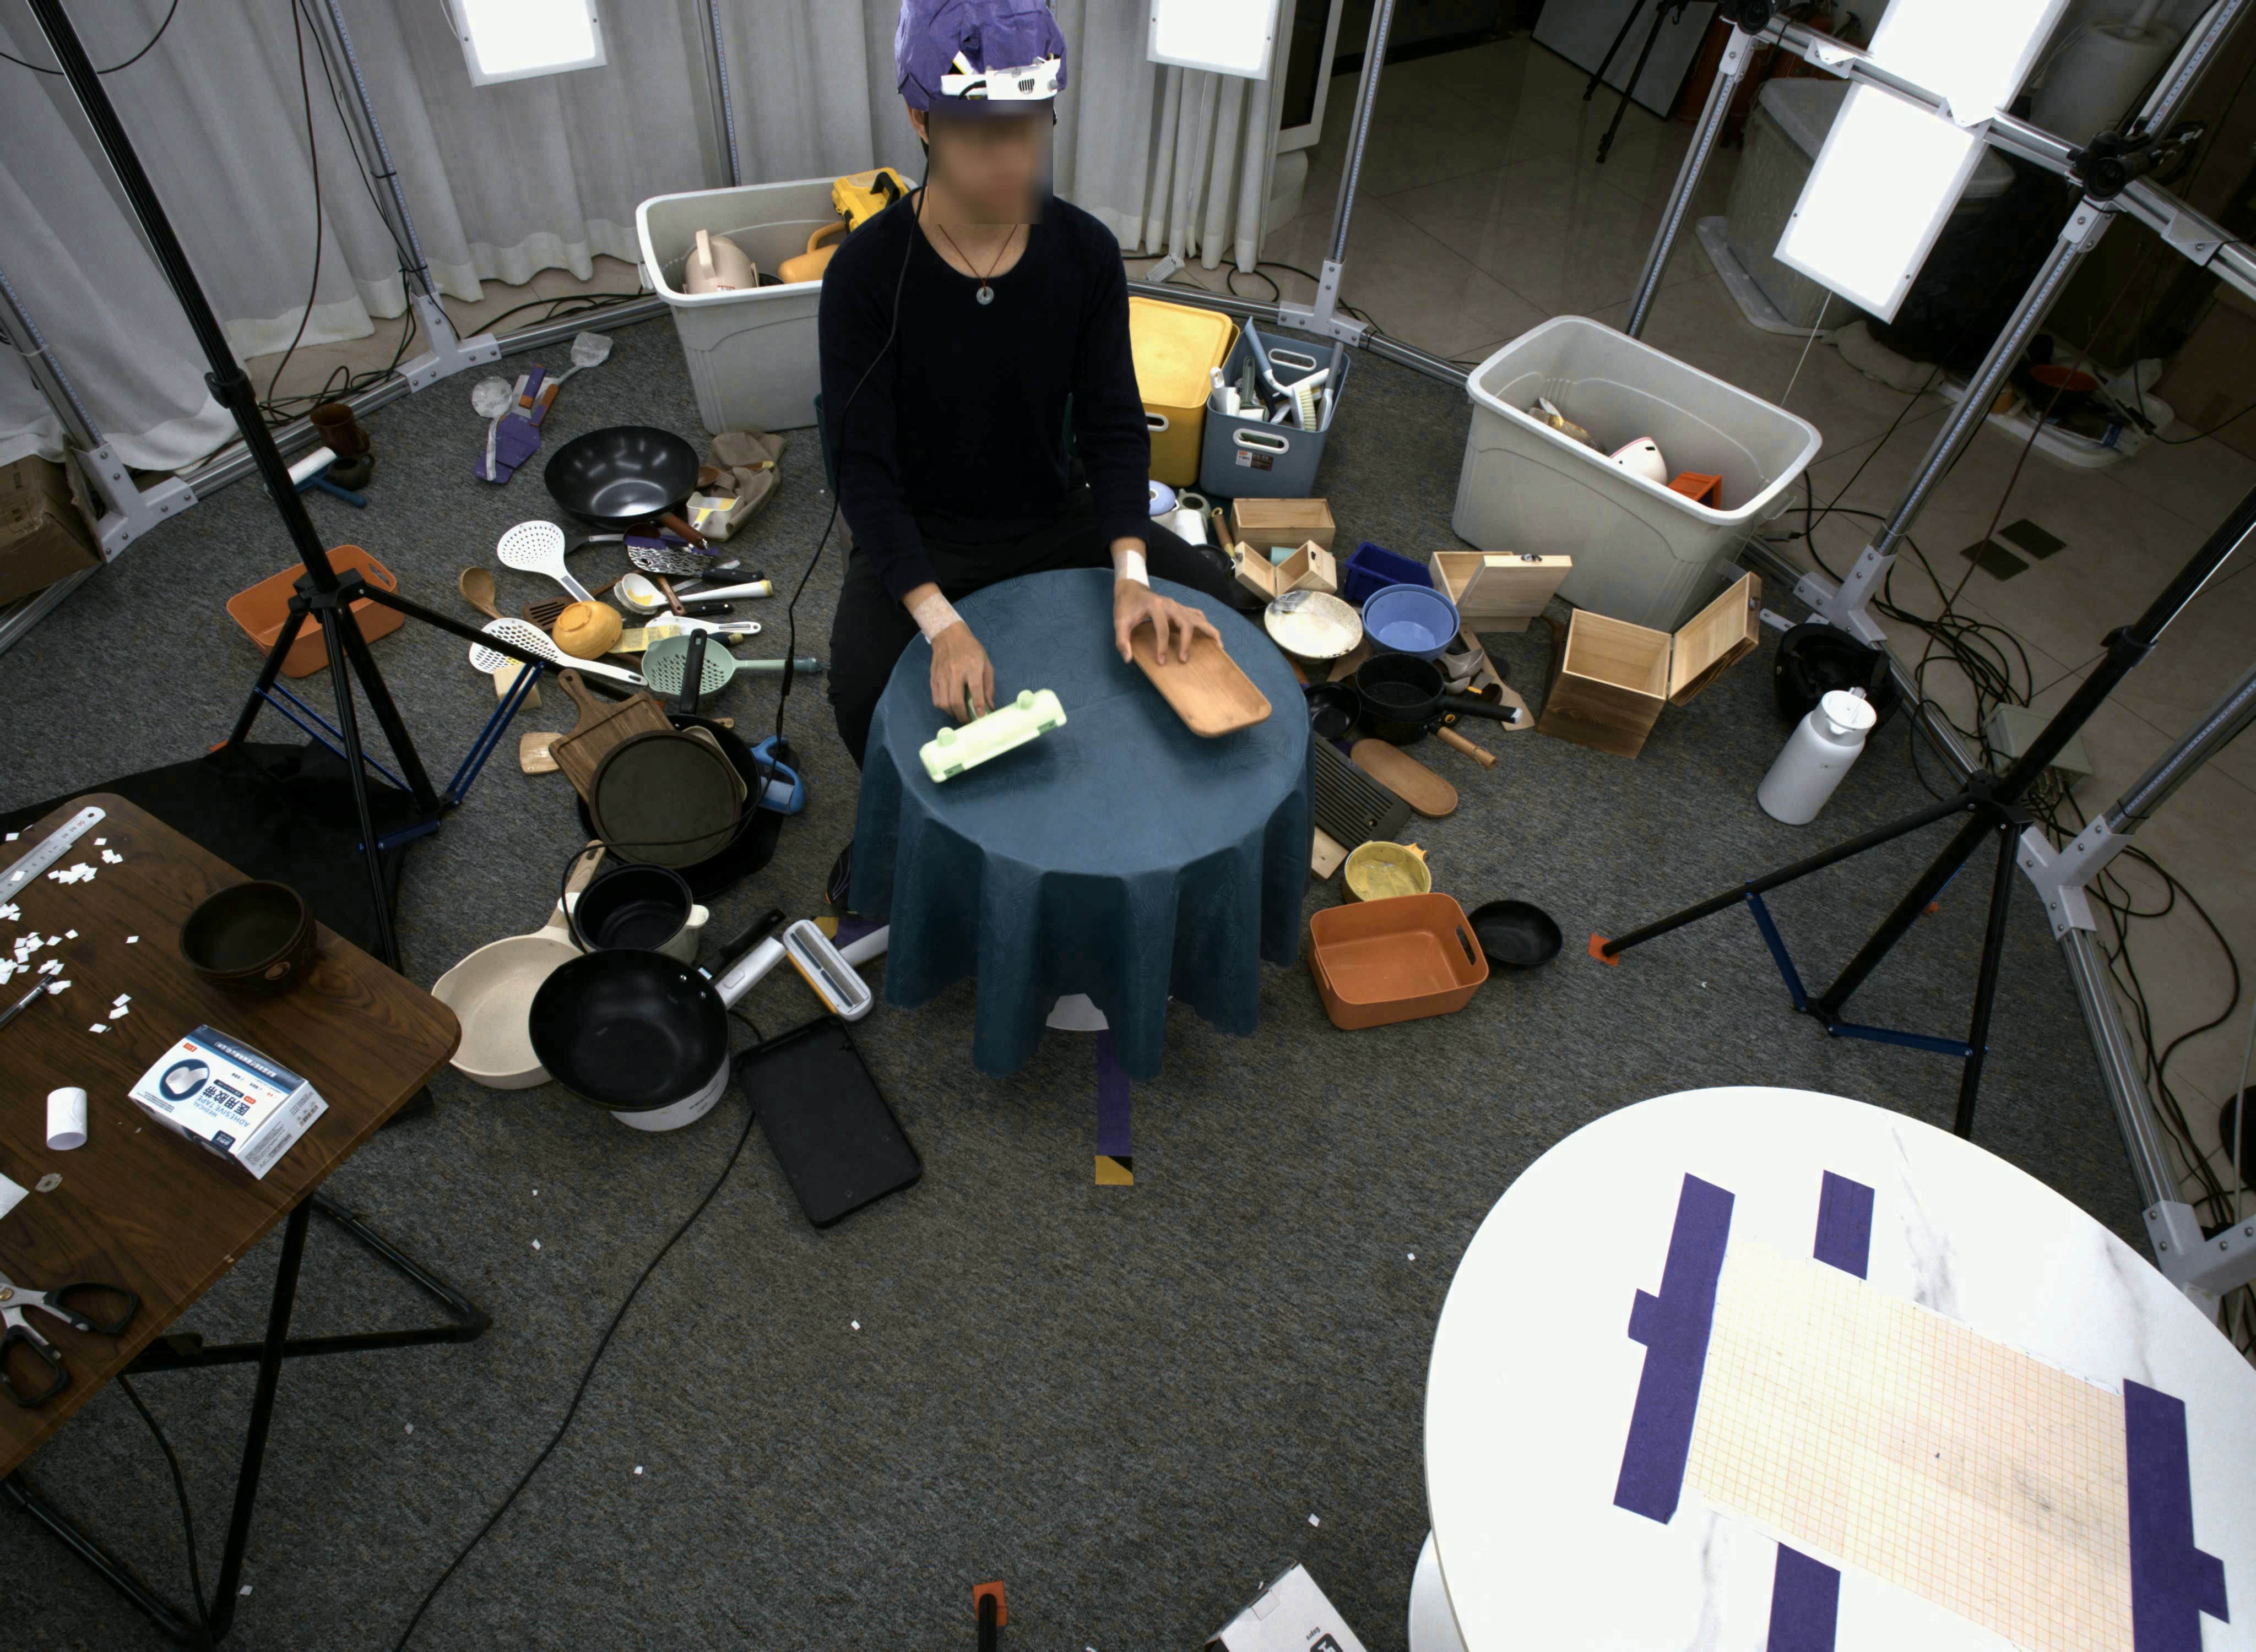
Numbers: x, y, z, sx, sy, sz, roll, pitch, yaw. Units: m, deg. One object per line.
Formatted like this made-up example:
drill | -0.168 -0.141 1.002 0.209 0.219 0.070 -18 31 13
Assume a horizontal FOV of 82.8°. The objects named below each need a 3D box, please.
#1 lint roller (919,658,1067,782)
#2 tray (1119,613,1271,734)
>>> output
lint roller | -0.206 -0.170 1.720 0.199 0.080 0.186 -28 65 -10
tray | 0.090 -0.217 1.798 0.130 0.022 0.256 -14 46 -24
